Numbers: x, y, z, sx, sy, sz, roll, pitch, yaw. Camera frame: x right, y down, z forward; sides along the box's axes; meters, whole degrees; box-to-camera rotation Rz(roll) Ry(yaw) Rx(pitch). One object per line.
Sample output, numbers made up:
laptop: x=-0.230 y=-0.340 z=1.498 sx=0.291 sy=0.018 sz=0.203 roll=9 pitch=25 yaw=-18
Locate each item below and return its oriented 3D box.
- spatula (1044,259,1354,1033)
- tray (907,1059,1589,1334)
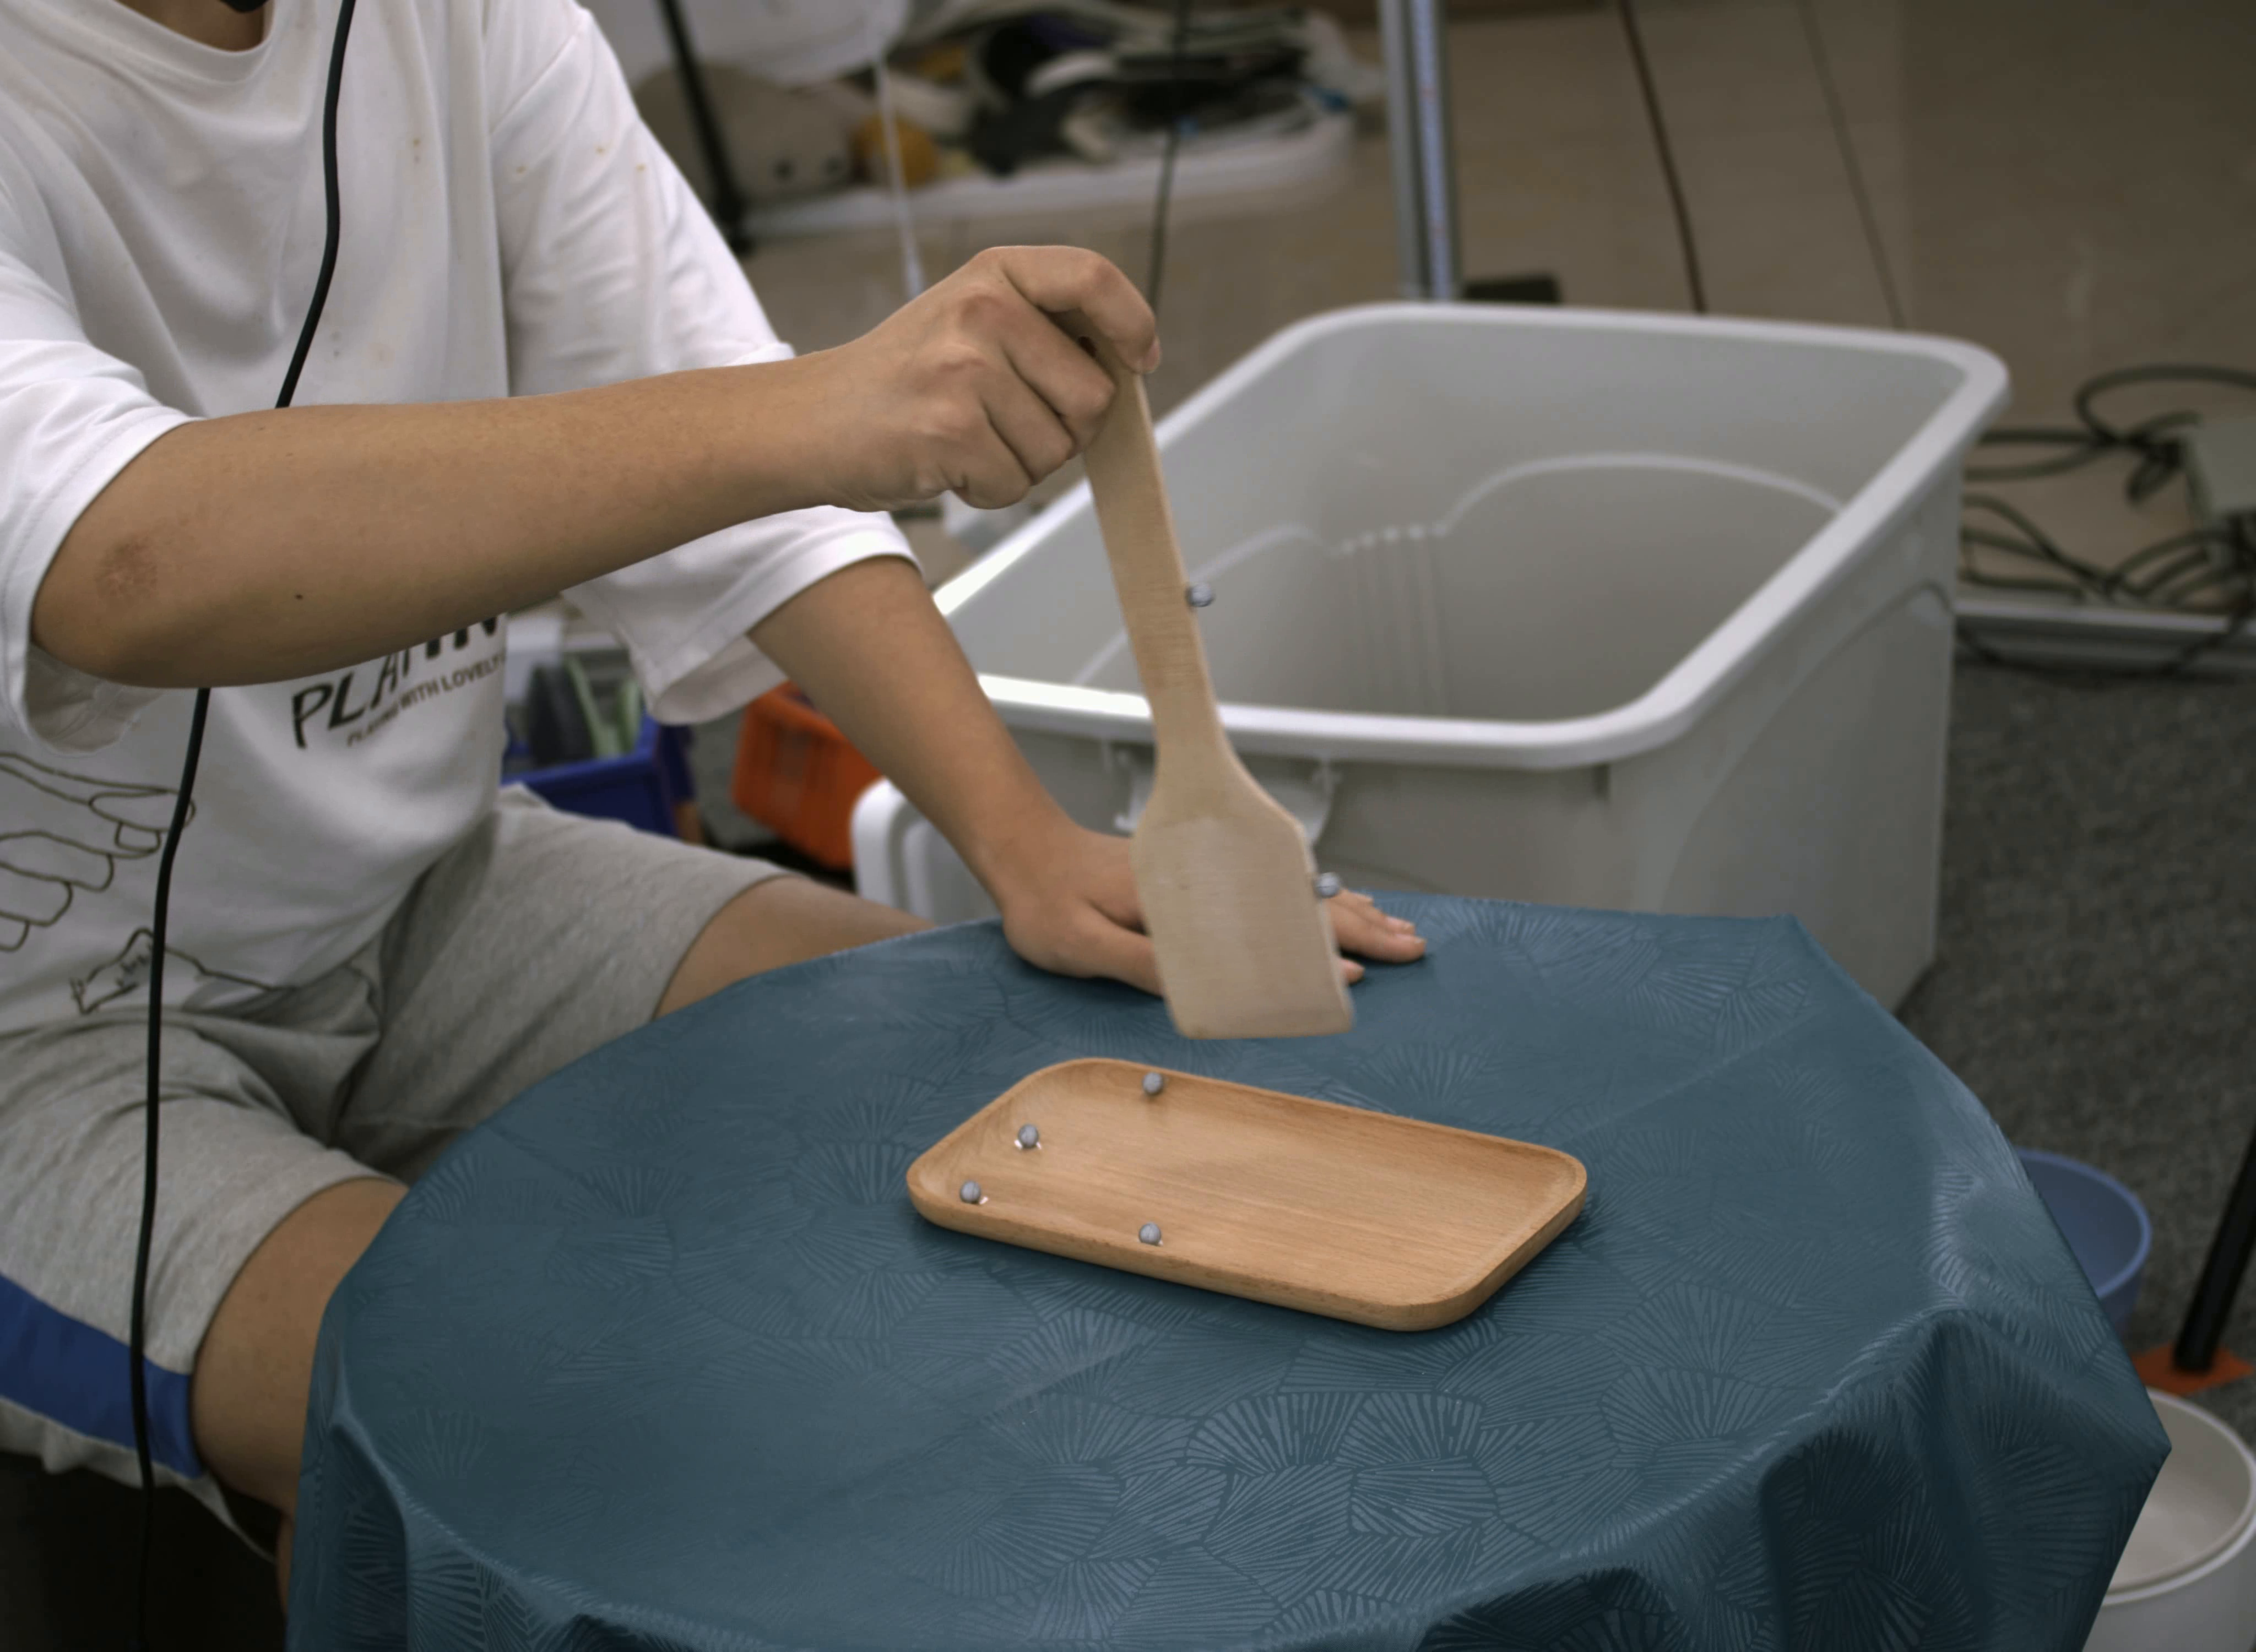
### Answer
spatula: x=0.017 y=-0.059 z=1.968 sx=0.072 sy=0.297 sz=0.010 roll=-3 pitch=25 yaw=27
tray: x=0.044 y=0.137 z=2.121 sx=0.249 sy=0.023 sz=0.129 roll=12 pitch=33 yaw=34
